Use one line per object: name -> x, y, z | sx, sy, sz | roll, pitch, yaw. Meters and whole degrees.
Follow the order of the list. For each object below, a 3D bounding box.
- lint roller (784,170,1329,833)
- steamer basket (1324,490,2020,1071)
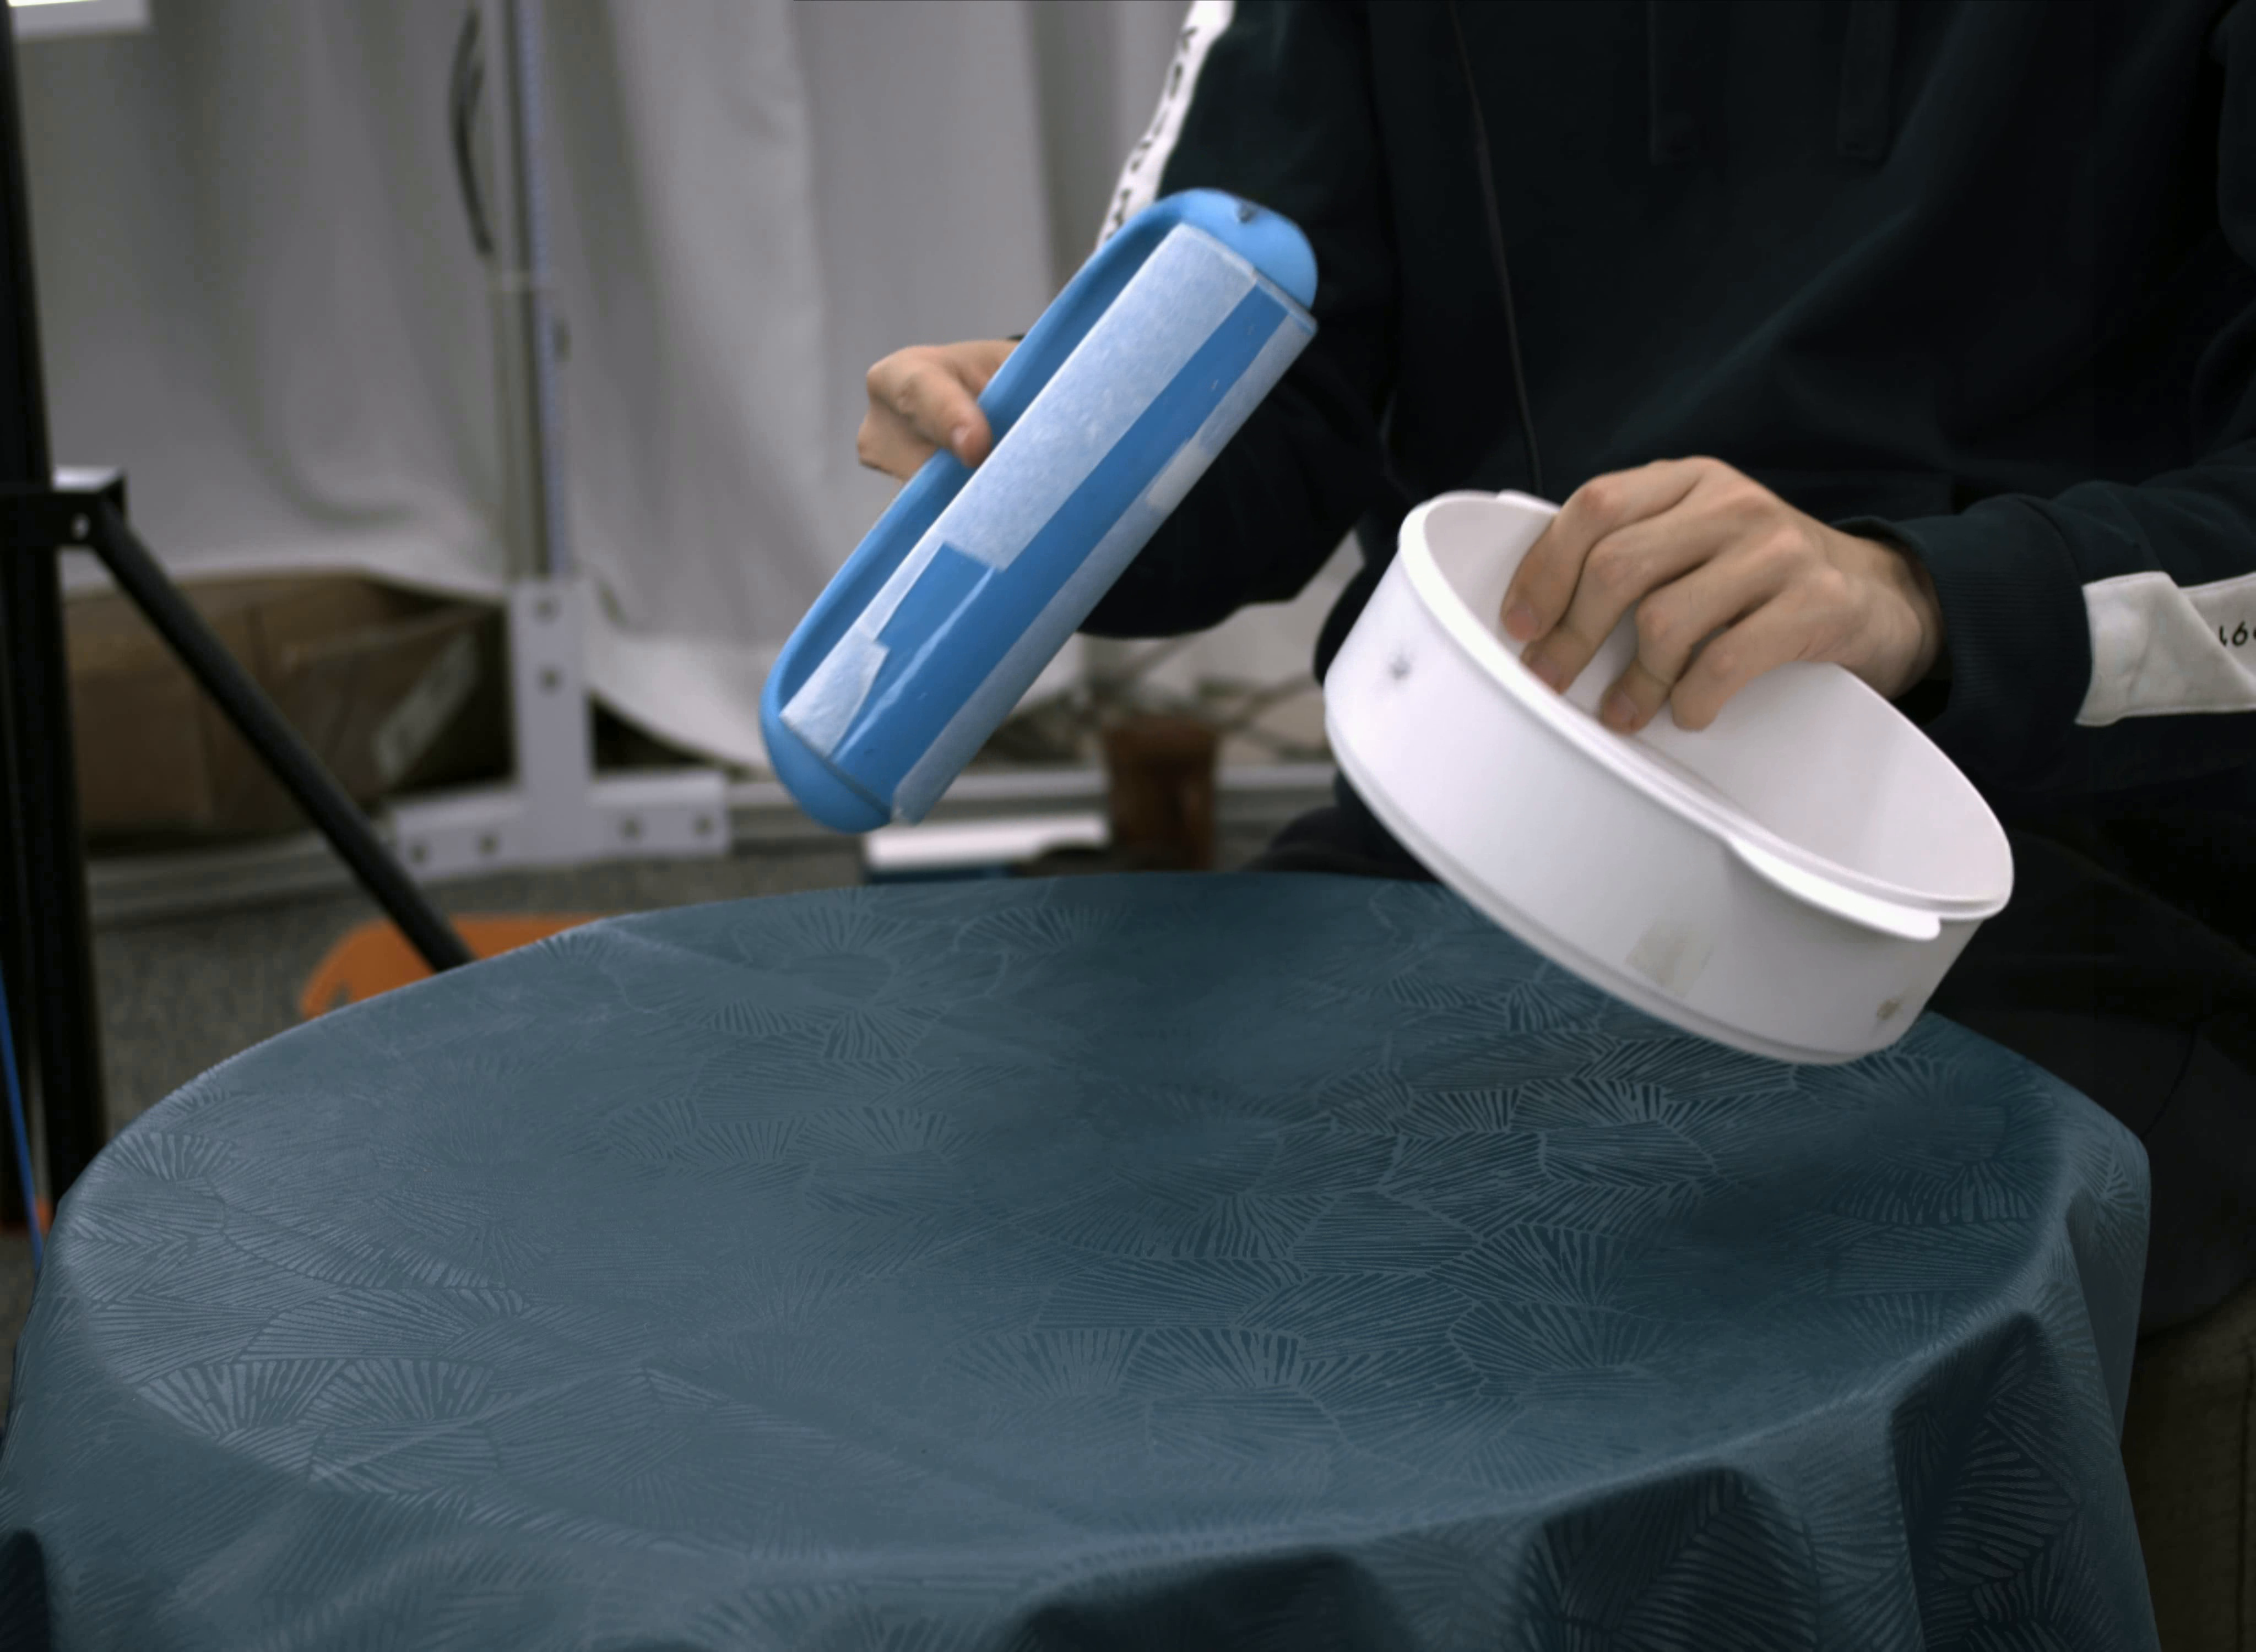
lint roller -> -0.028, -0.102, 1.648 | 0.067, 0.229, 0.182 | 35, 0, -11
steamer basket -> 0.151, -0.011, 1.491 | 0.197, 0.069, 0.235 | 22, 20, -28
